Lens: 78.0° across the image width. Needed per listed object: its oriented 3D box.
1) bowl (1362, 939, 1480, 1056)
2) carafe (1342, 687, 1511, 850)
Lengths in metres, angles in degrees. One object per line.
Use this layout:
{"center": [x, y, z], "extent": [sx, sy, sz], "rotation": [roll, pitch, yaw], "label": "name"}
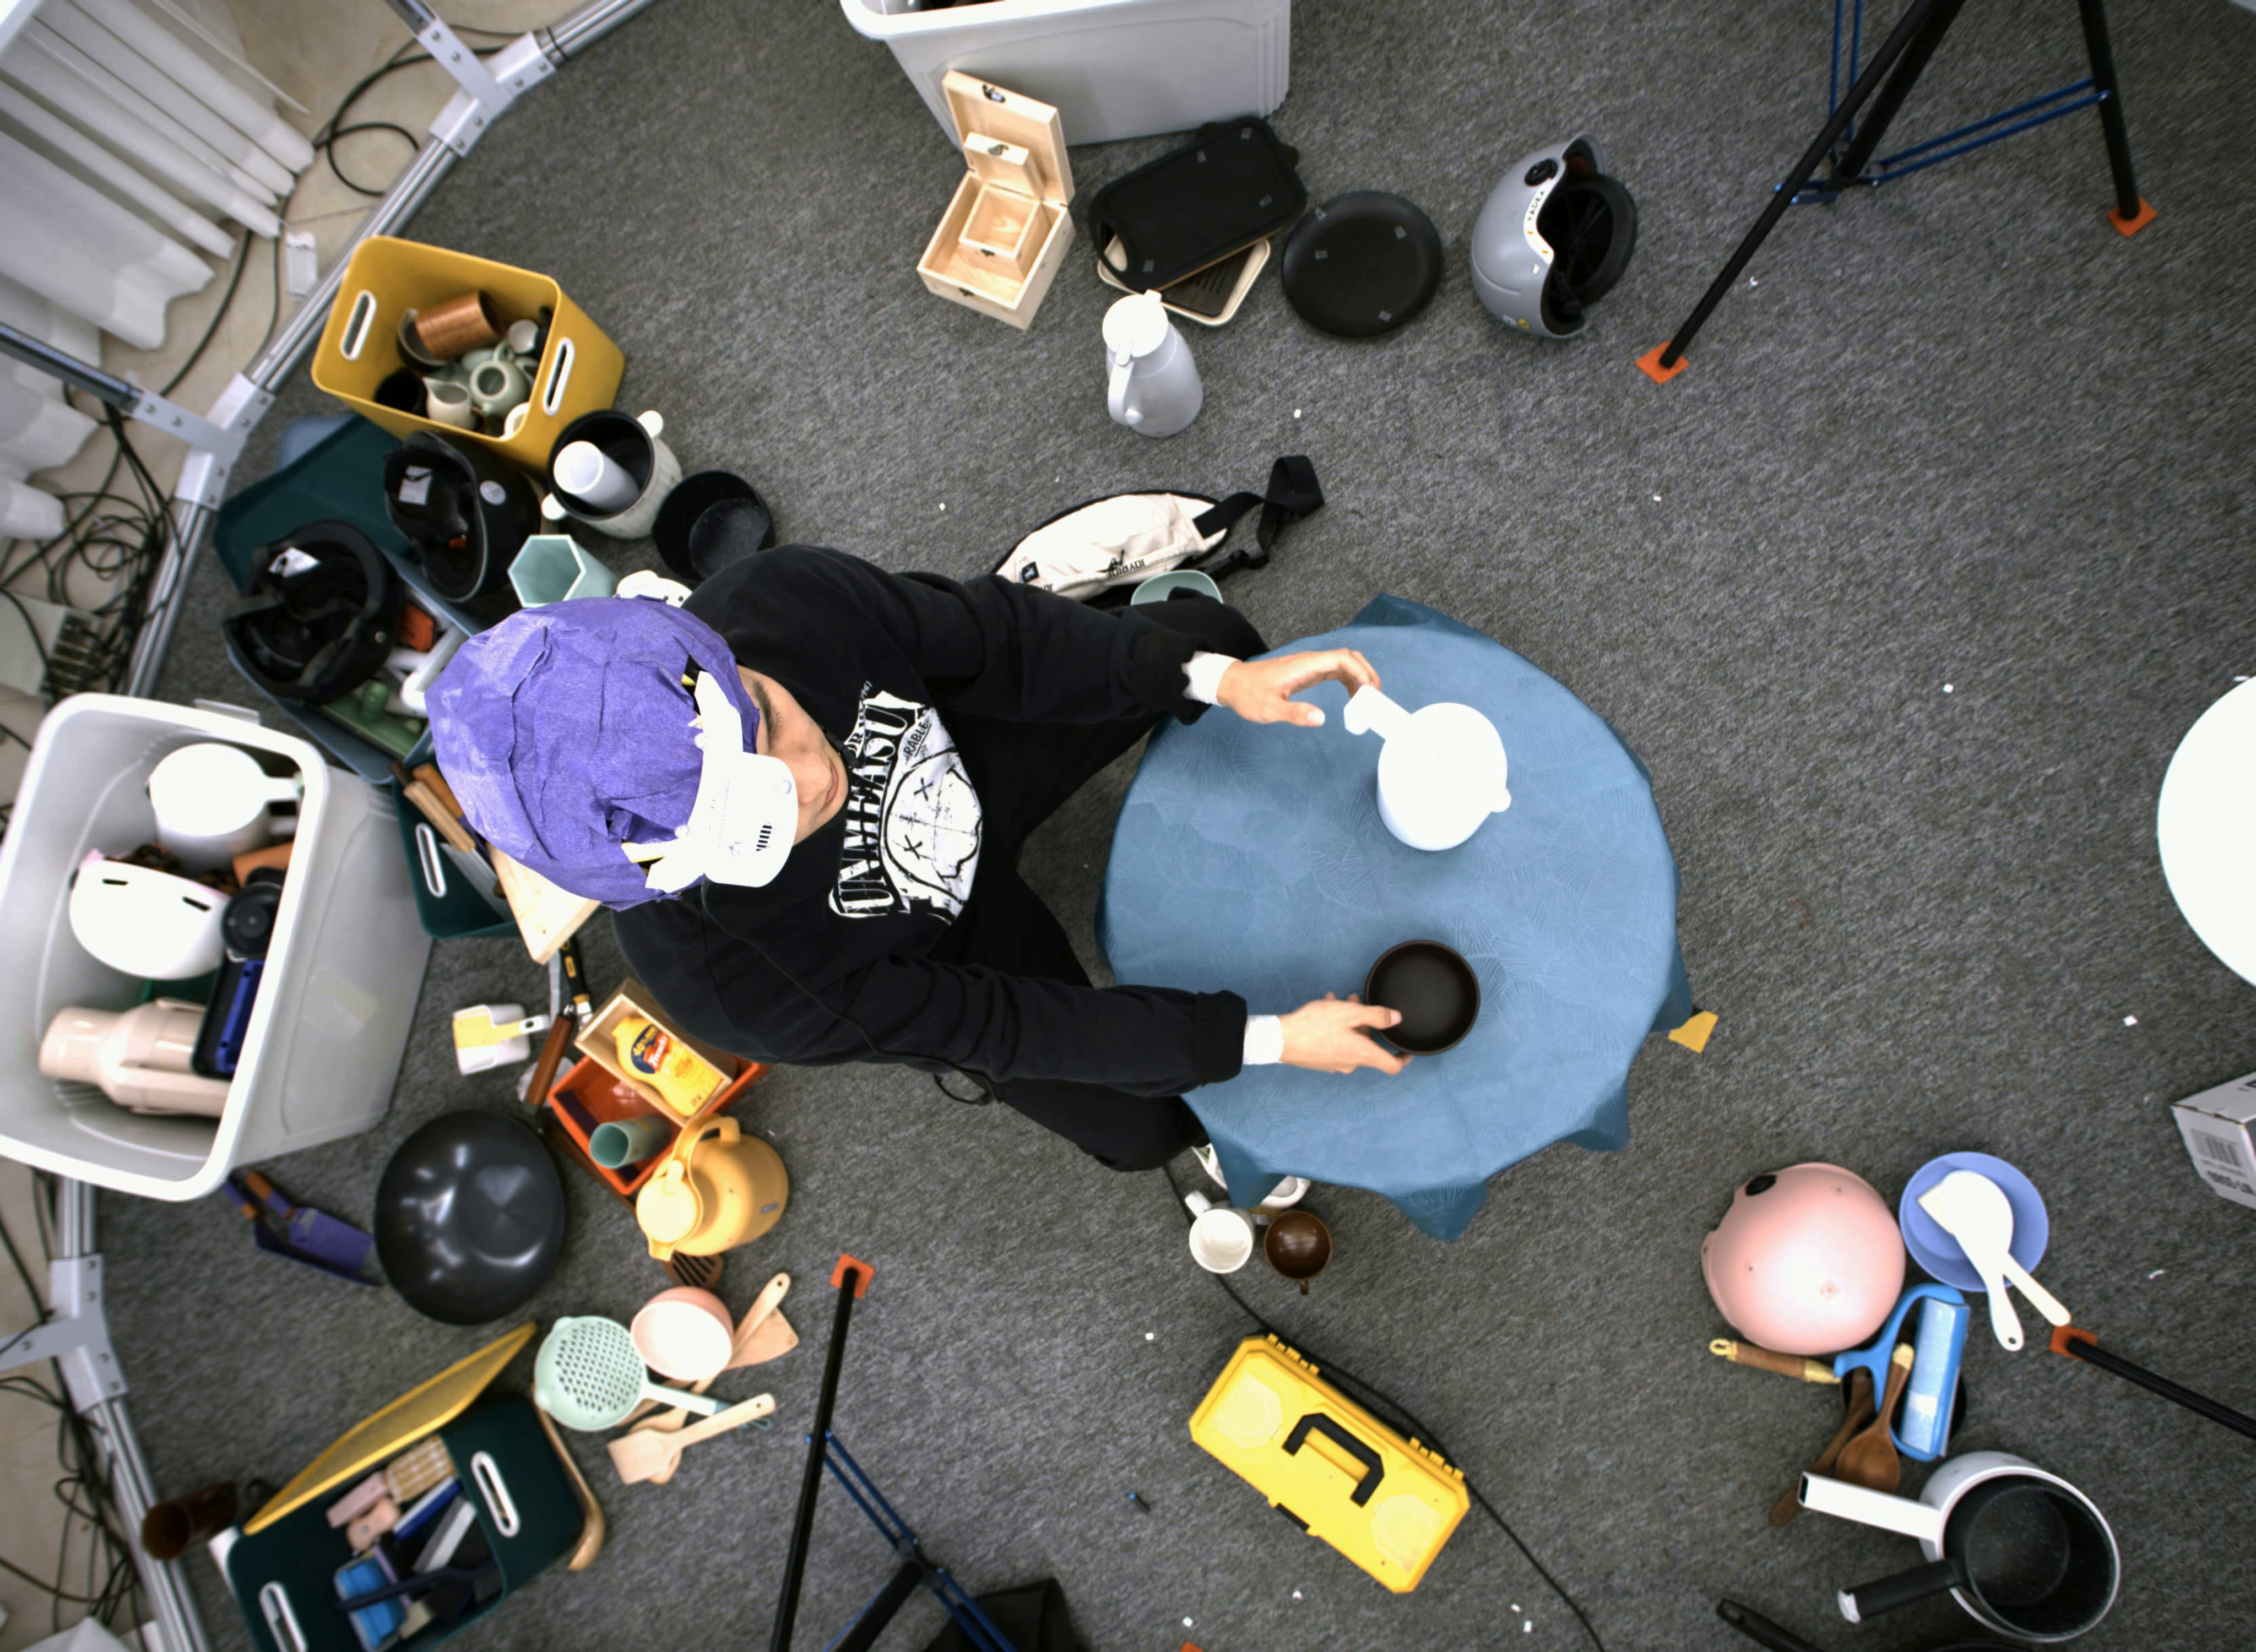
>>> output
{"center": [0.299, 0.173, 1.413], "extent": [0.118, 0.070, 0.117], "rotation": [-1, 86, 11], "label": "bowl"}
{"center": [0.284, -0.056, 1.329], "extent": [0.172, 0.268, 0.124], "rotation": [37, 94, 11], "label": "carafe"}
